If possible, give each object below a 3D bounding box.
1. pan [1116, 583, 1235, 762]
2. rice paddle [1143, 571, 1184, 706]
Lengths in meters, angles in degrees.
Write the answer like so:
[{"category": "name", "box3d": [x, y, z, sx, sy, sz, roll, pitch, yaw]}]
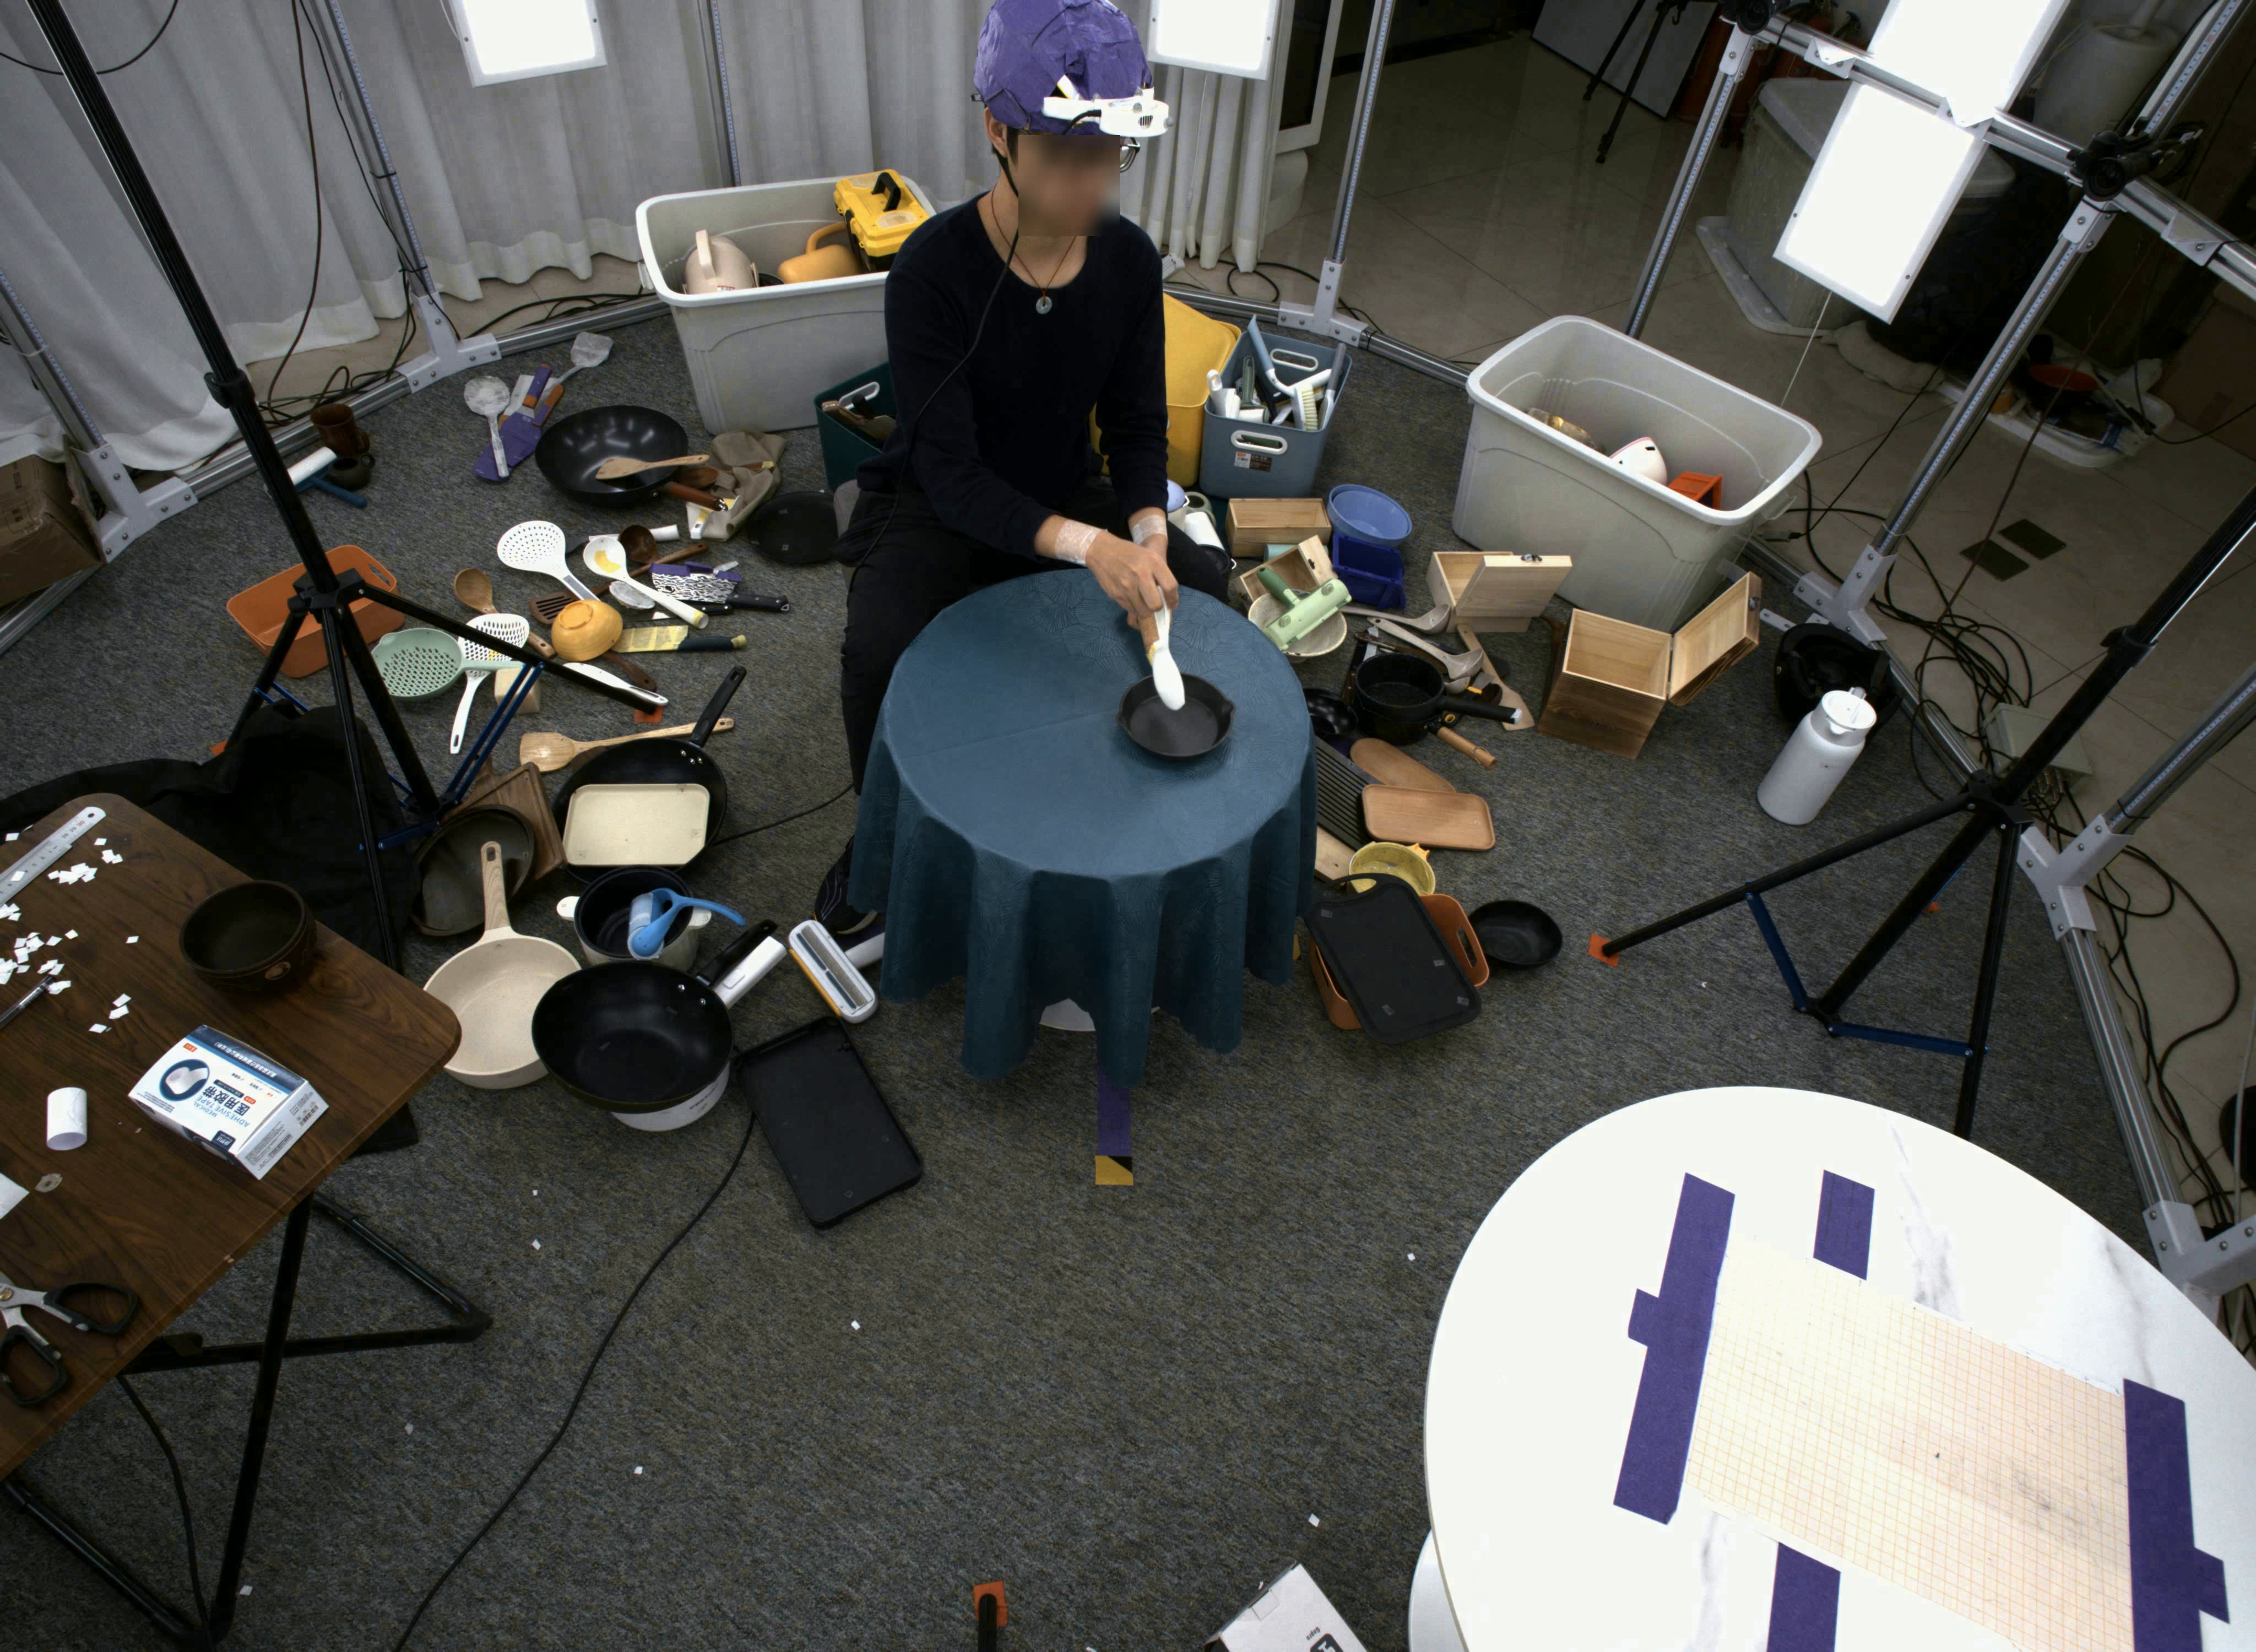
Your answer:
[{"category": "pan", "box3d": [0.050, -0.219, 1.824, 0.169, 0.048, 0.332, -6, 53, -9]}, {"category": "rice paddle", "box3d": [0.048, -0.245, 1.710, 0.029, 0.200, 0.070, -29, 44, -21]}]
